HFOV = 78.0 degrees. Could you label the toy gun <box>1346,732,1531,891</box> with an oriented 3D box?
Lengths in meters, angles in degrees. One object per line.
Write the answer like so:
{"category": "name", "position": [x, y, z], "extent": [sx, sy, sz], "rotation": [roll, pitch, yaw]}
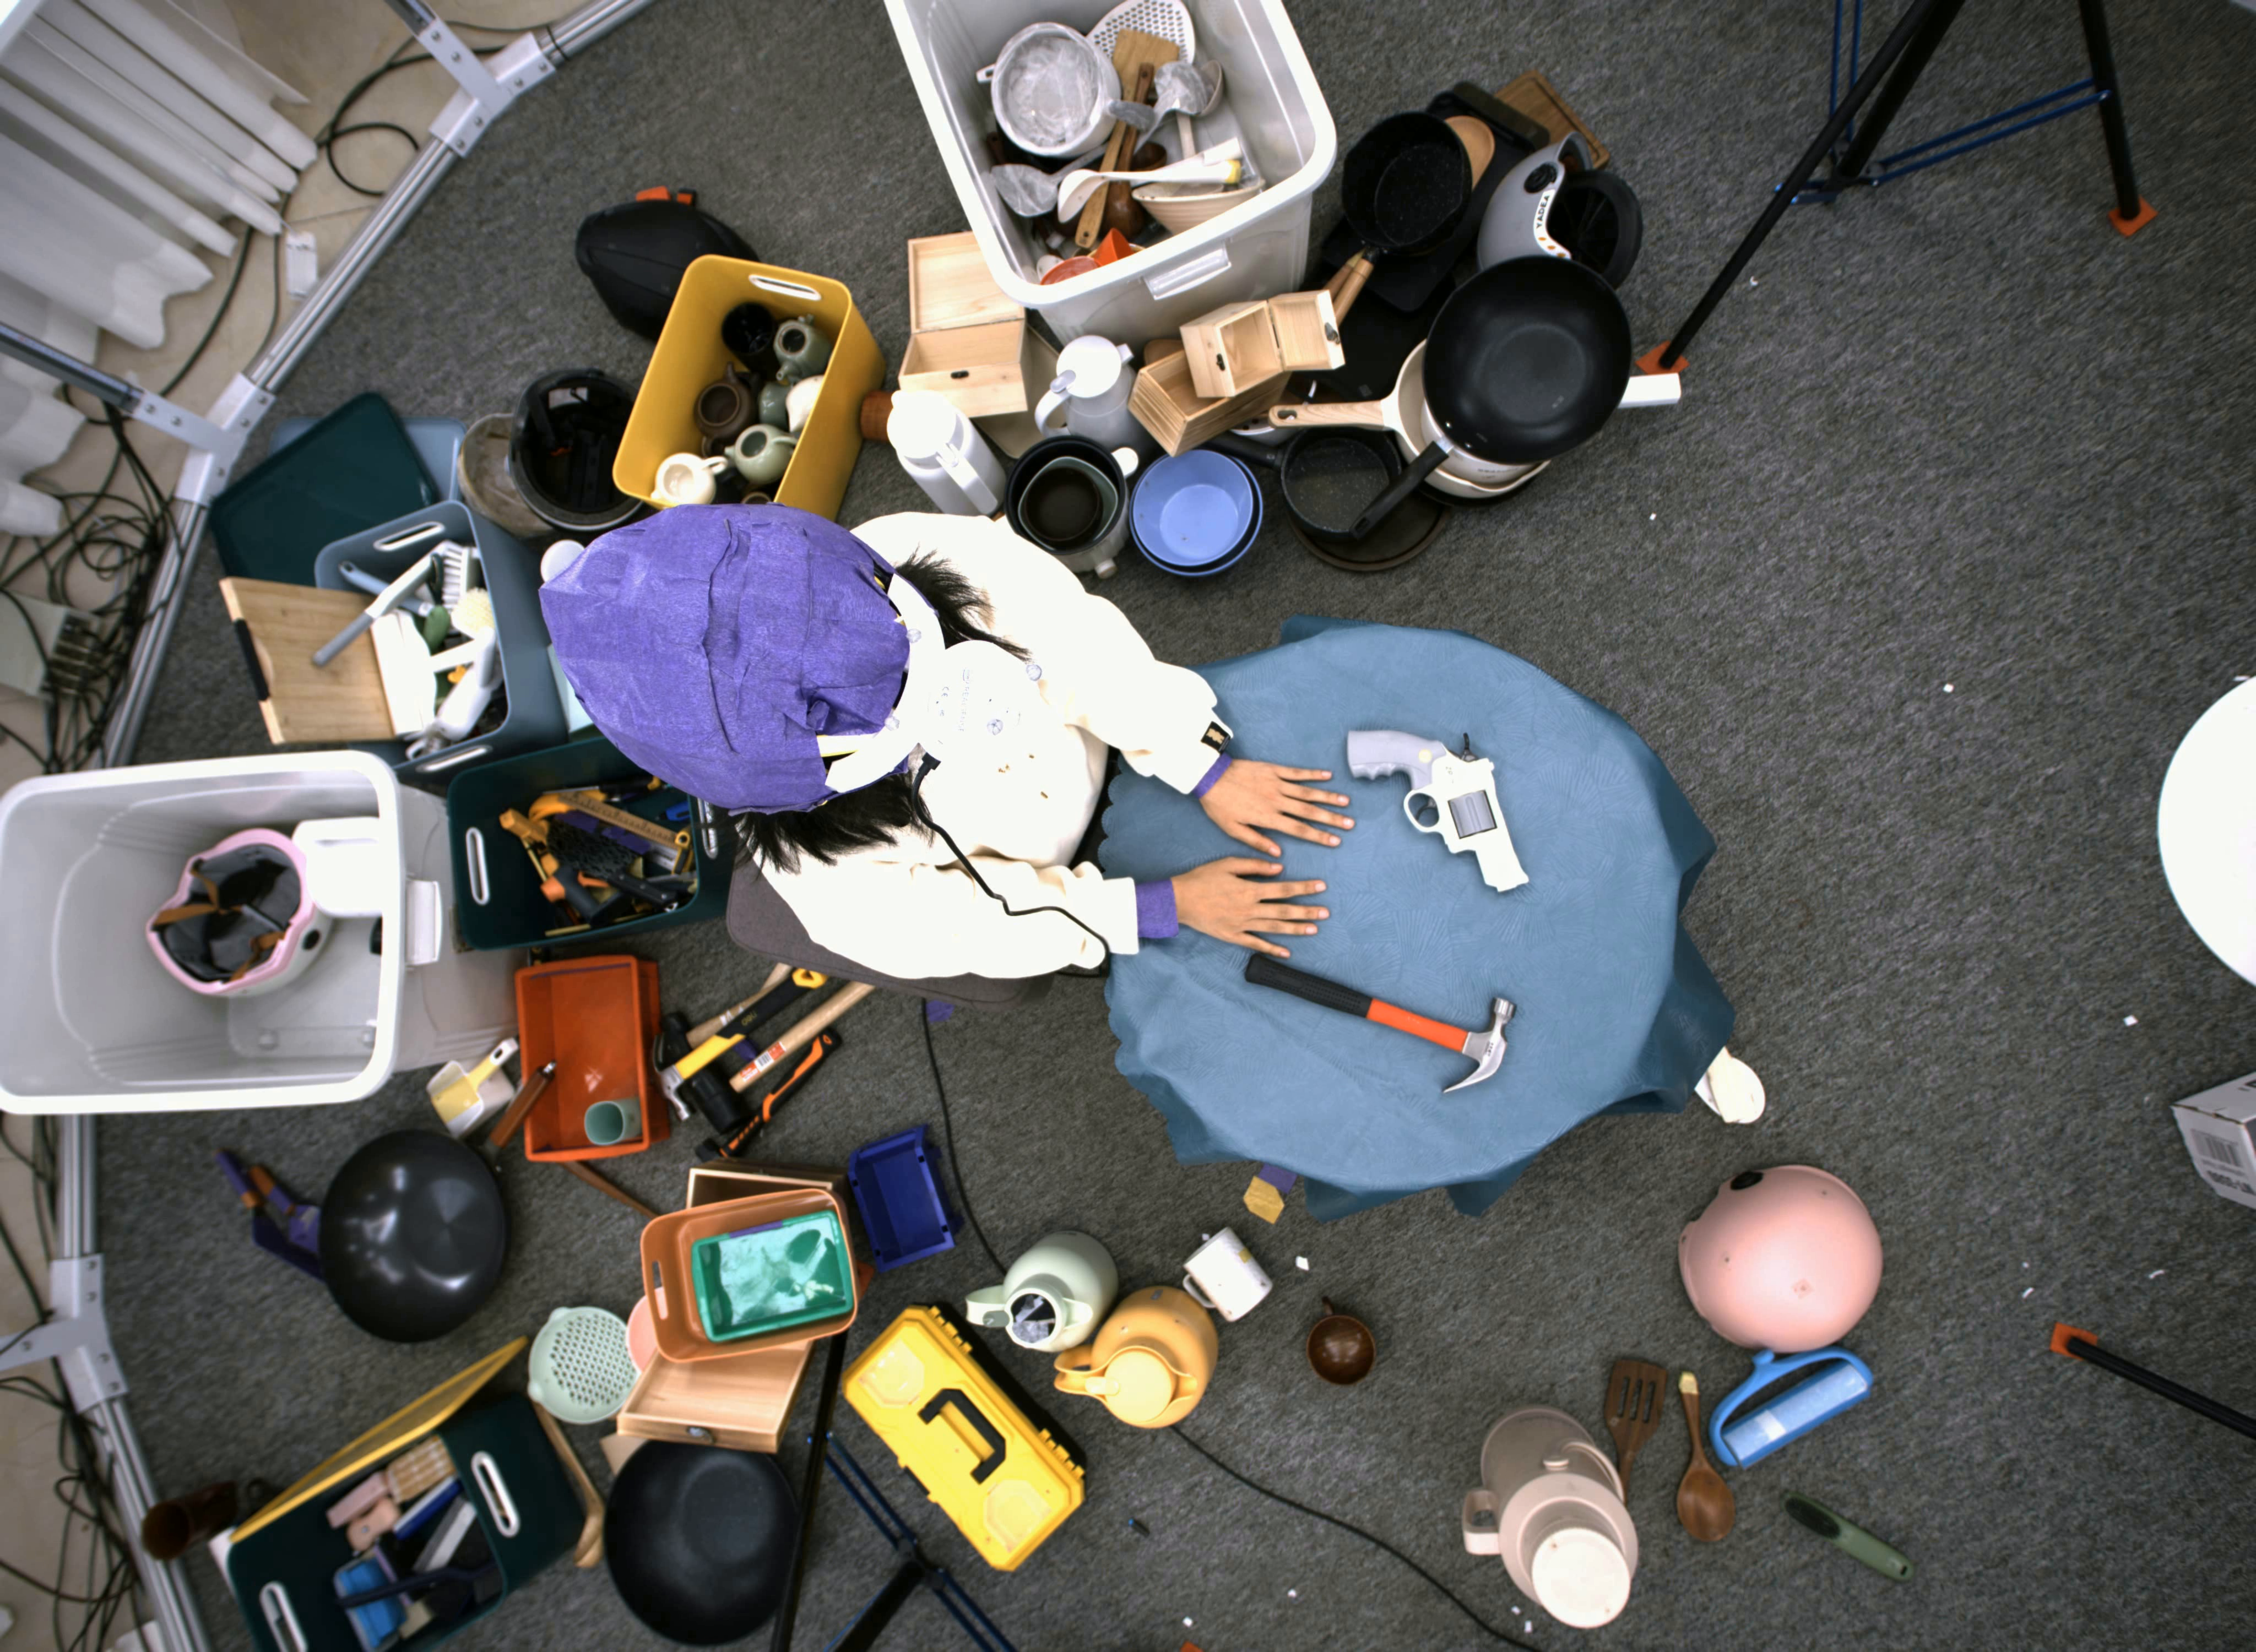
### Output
{"category": "toy gun", "position": [0.320, -0.020, 1.435], "extent": [0.142, 0.039, 0.207], "rotation": [-19, 83, 6]}

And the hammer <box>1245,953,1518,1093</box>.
{"category": "hammer", "position": [0.256, 0.191, 1.442], "extent": [0.277, 0.026, 0.111], "rotation": [18, 99, 11]}
